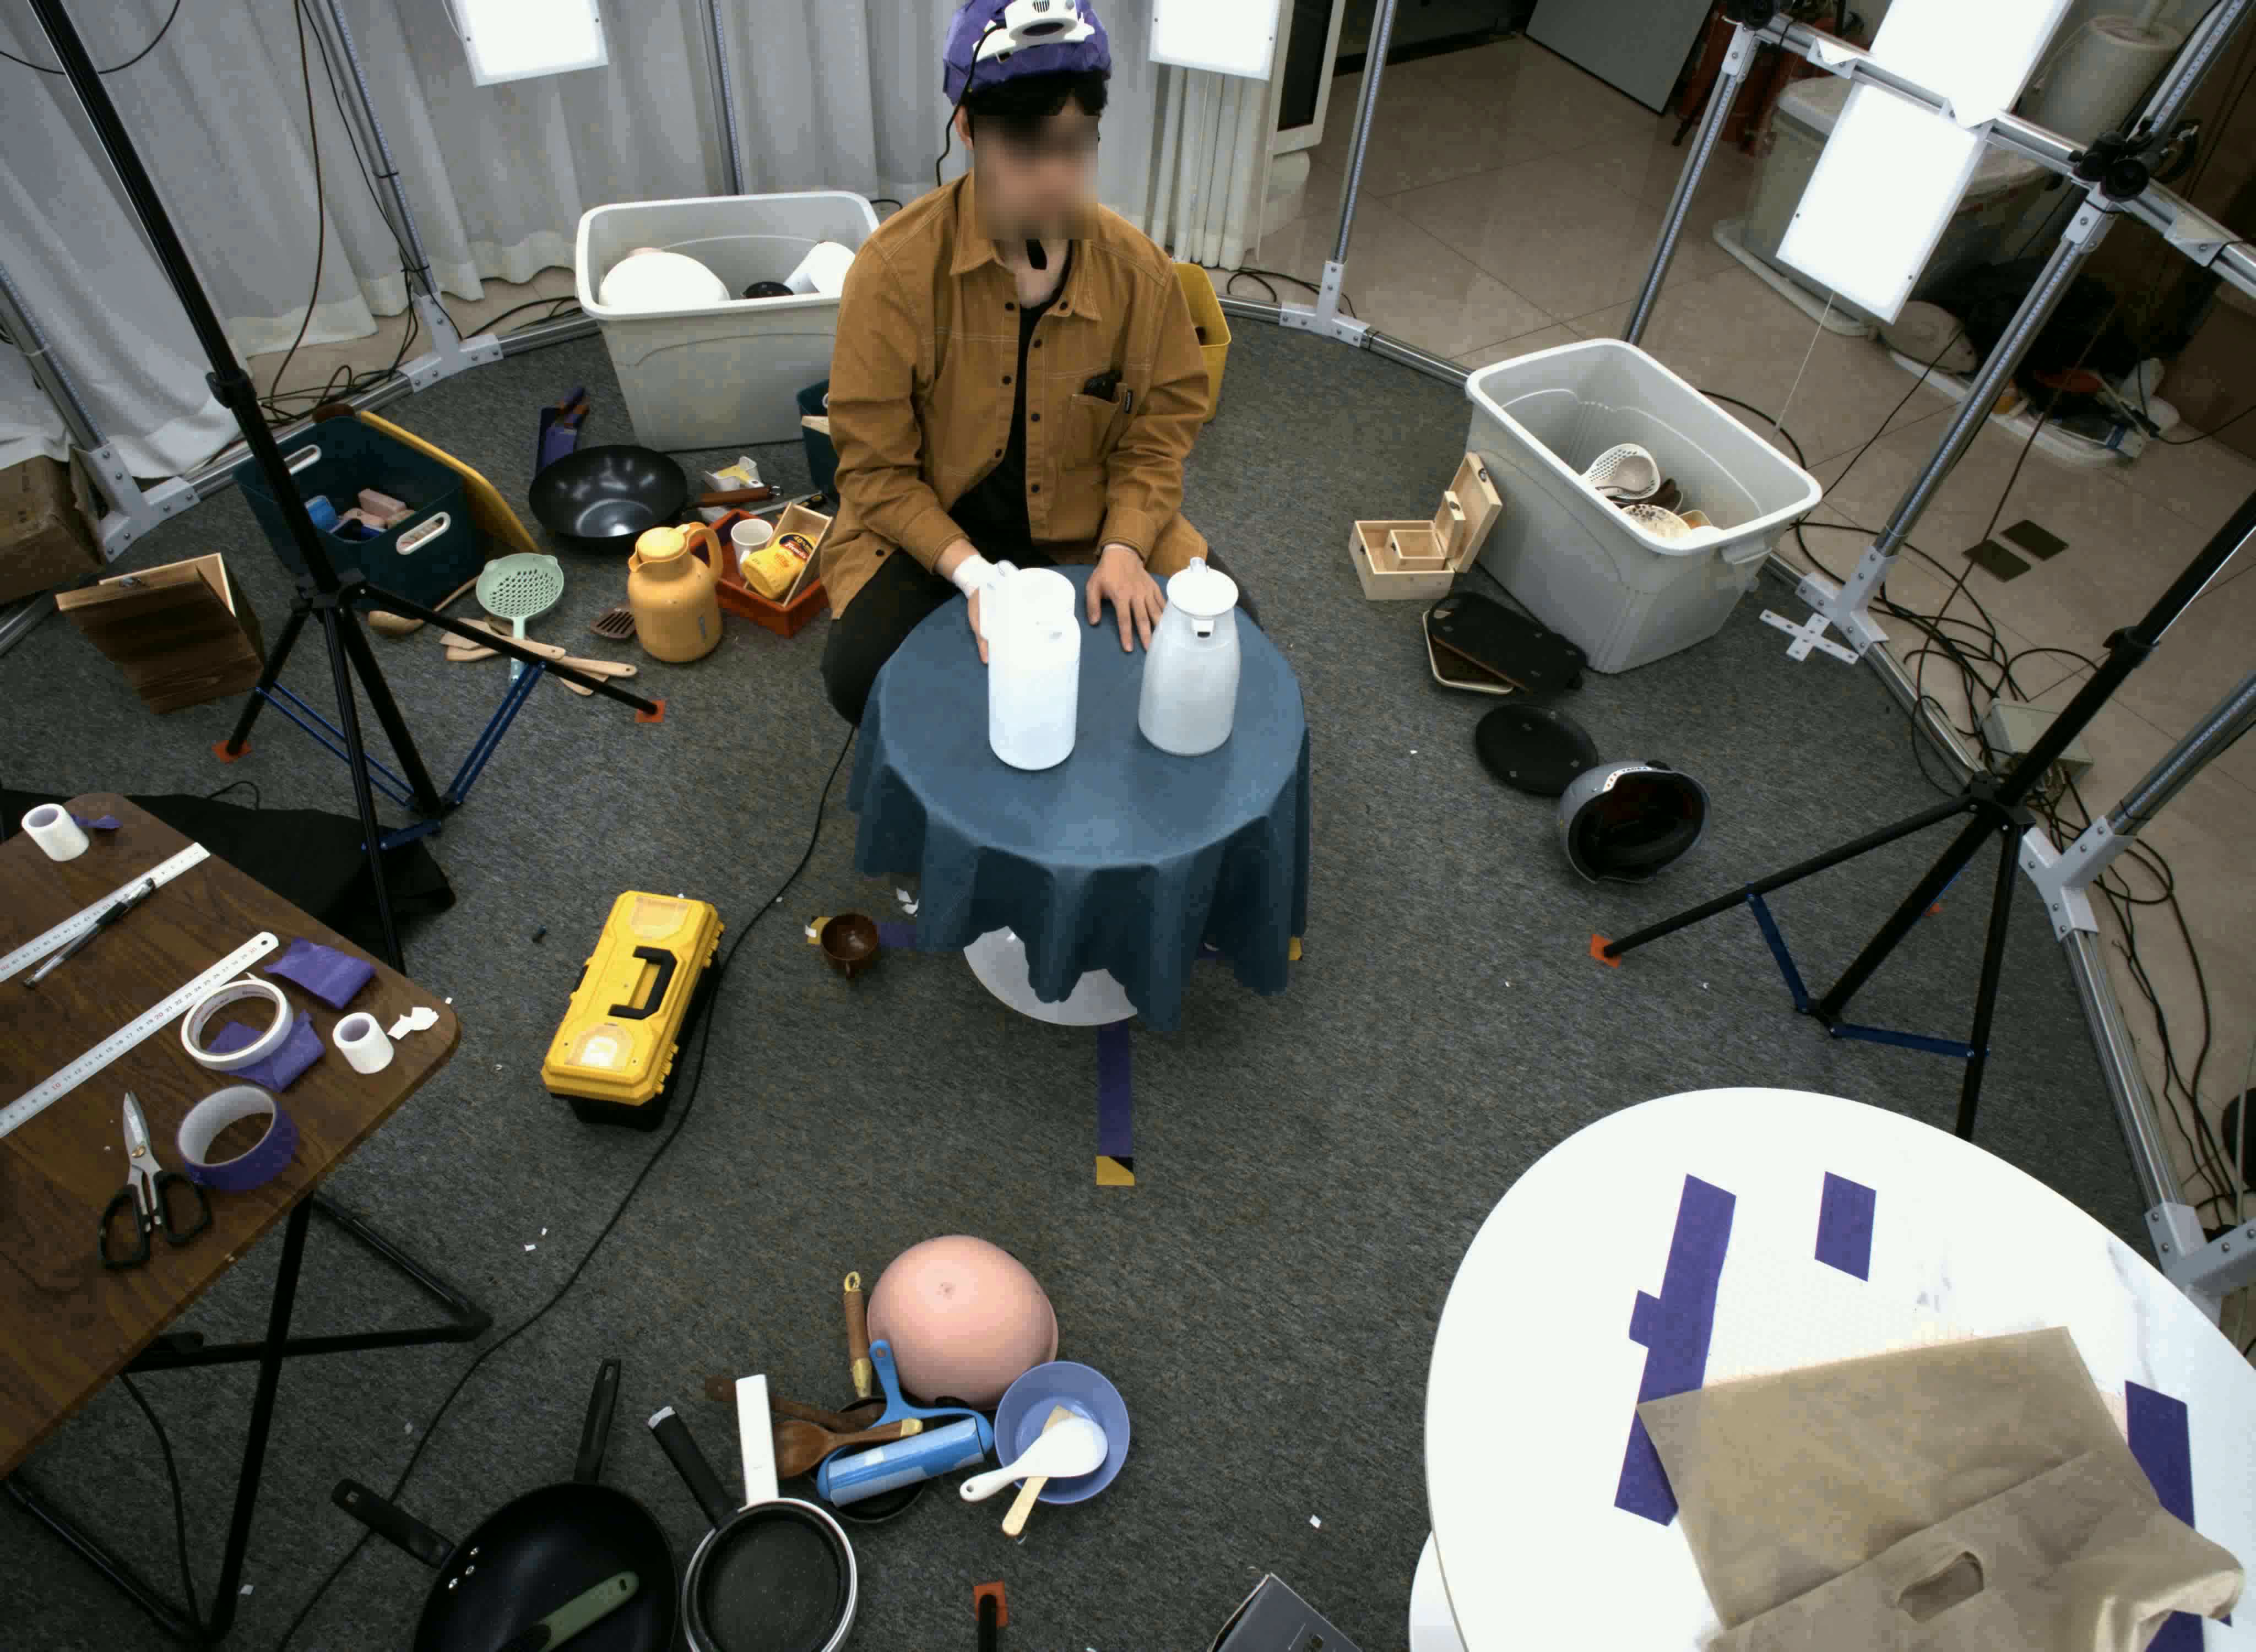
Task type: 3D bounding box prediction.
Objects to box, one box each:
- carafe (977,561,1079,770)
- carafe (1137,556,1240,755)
[{"bbox_3d":[-0.136,-0.210,1.671,0.124,0.262,0.176,-30,58,-24],"label":"carafe"},{"bbox_3d":[0.085,-0.240,1.722,0.132,0.242,0.172,1,49,-3],"label":"carafe"}]
